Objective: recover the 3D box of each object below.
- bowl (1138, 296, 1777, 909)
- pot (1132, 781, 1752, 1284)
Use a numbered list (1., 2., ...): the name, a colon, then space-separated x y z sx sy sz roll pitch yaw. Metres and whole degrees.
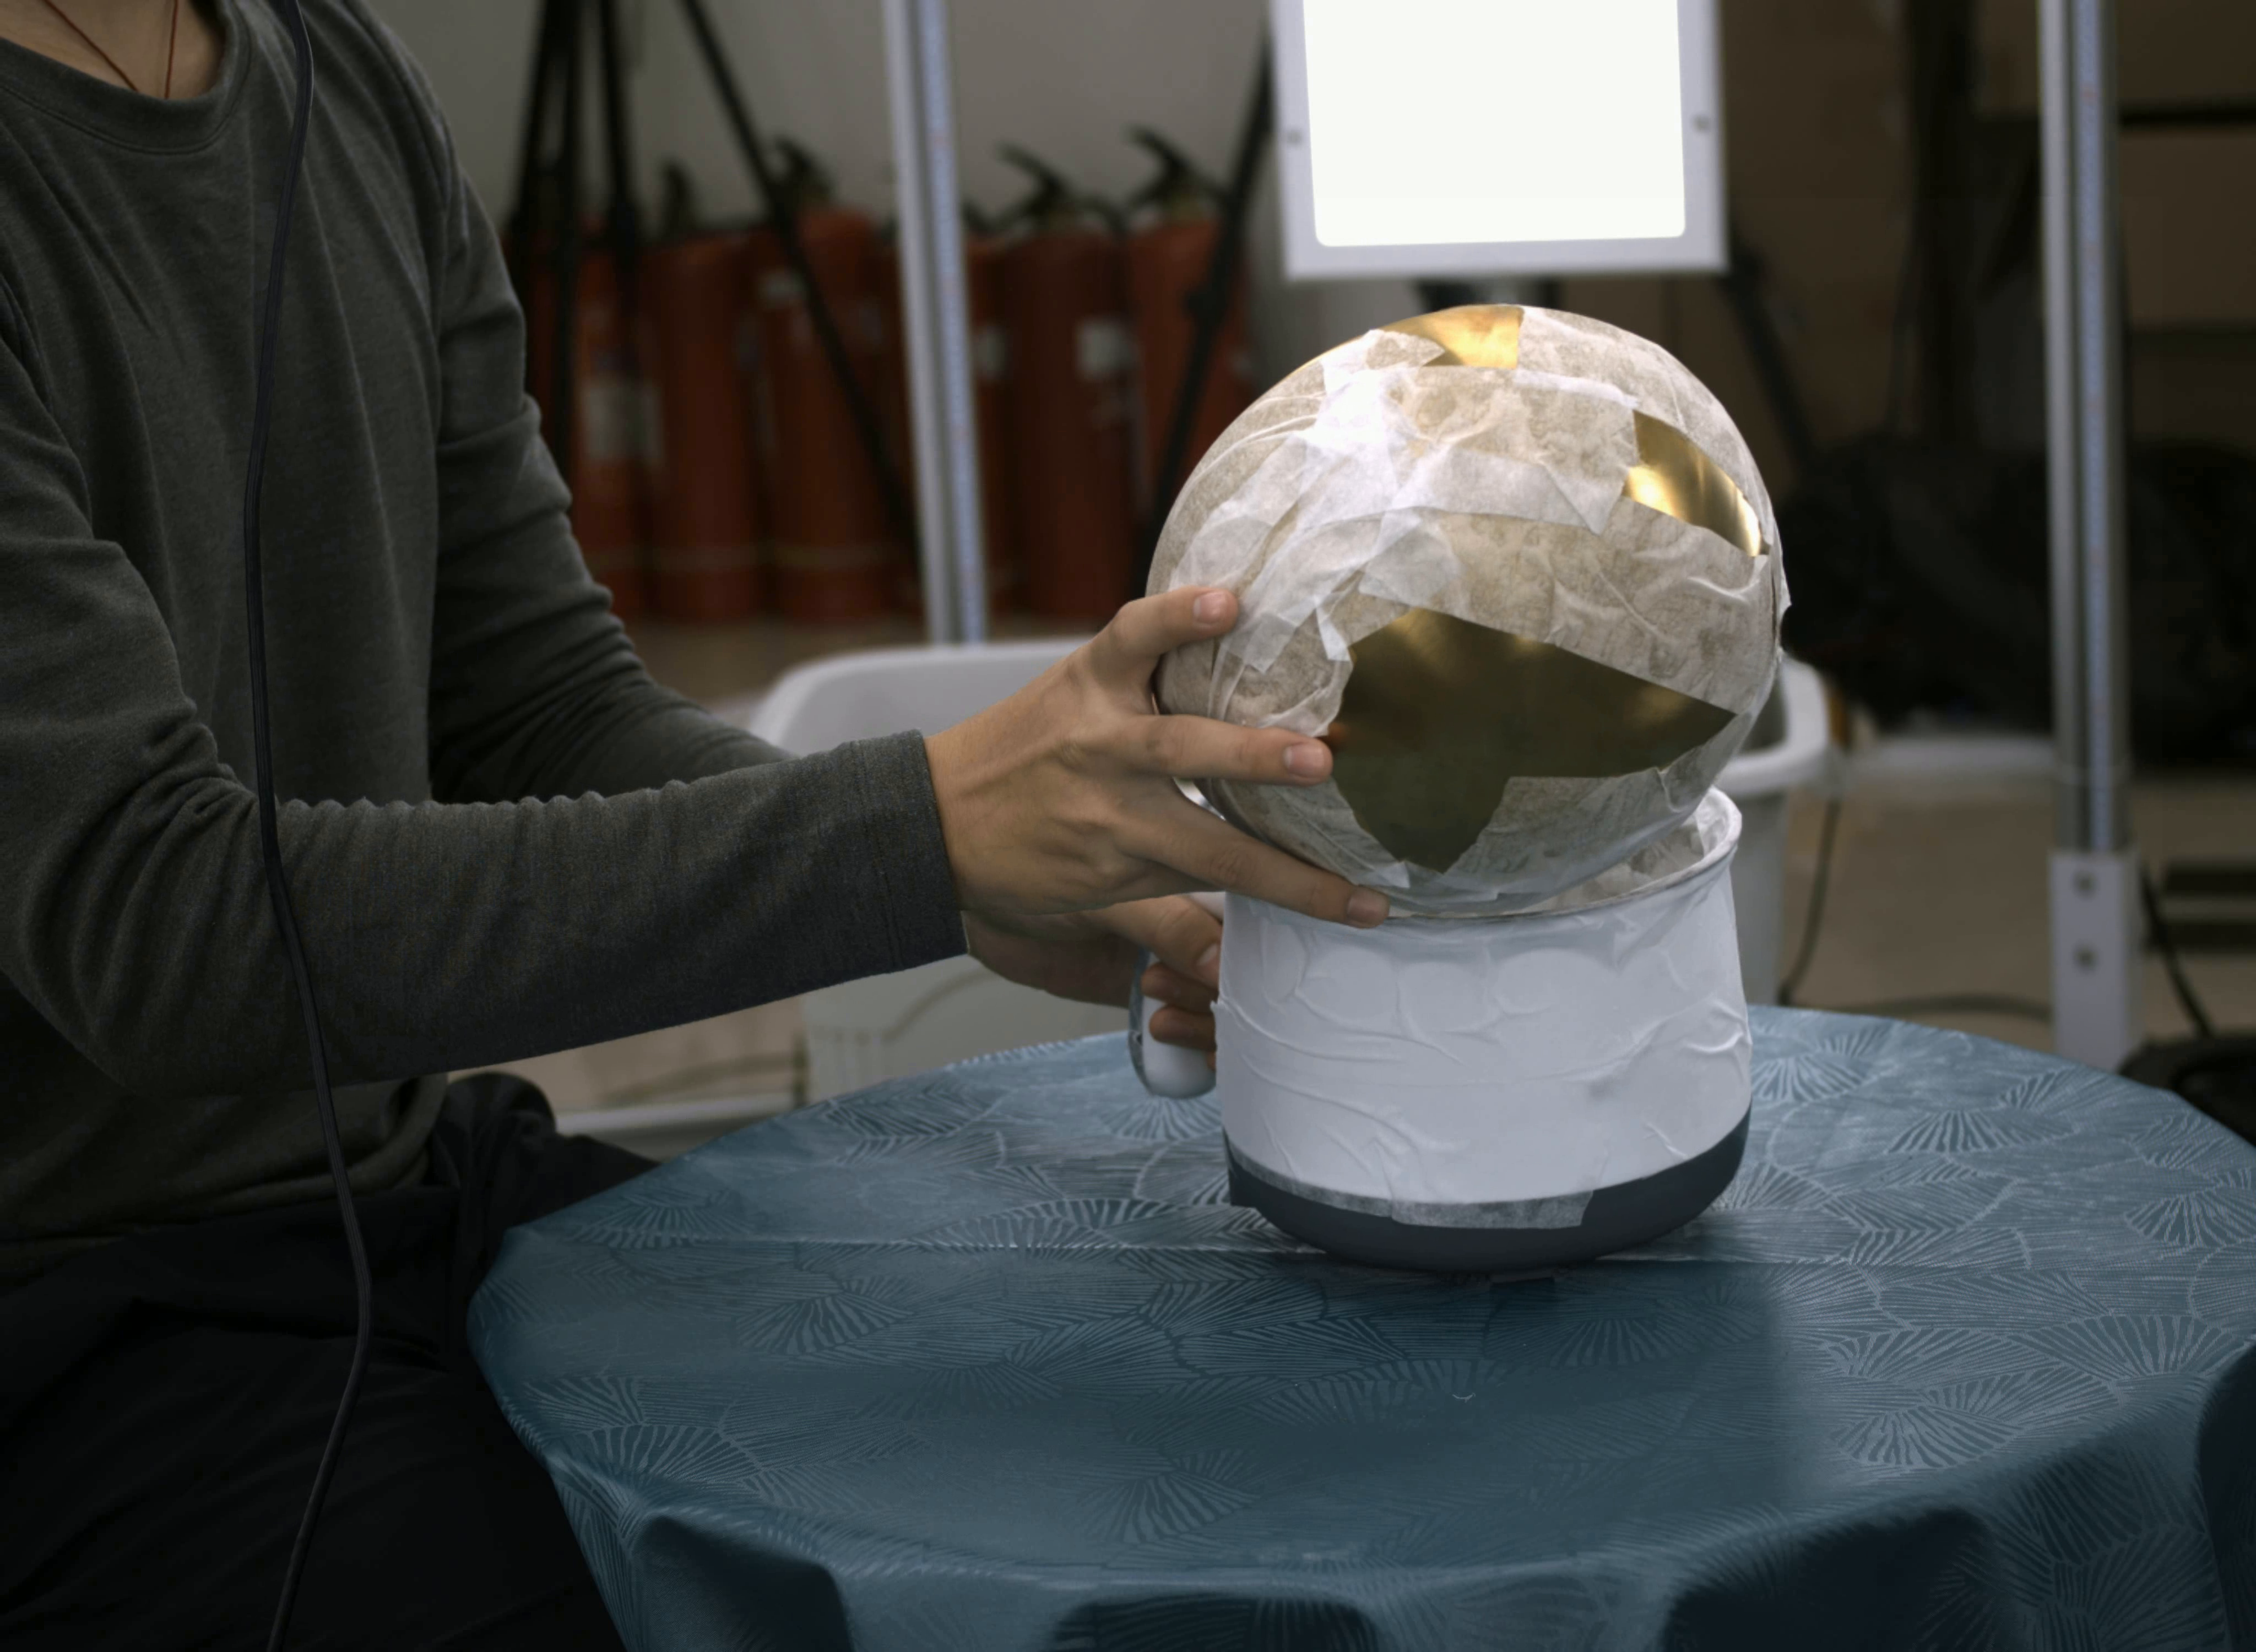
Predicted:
1. bowl: 0.108 -0.049 1.676 0.212 0.216 0.095 -6 34 -8
2. pot: 0.096 0.058 1.835 0.238 0.137 0.174 10 23 39
